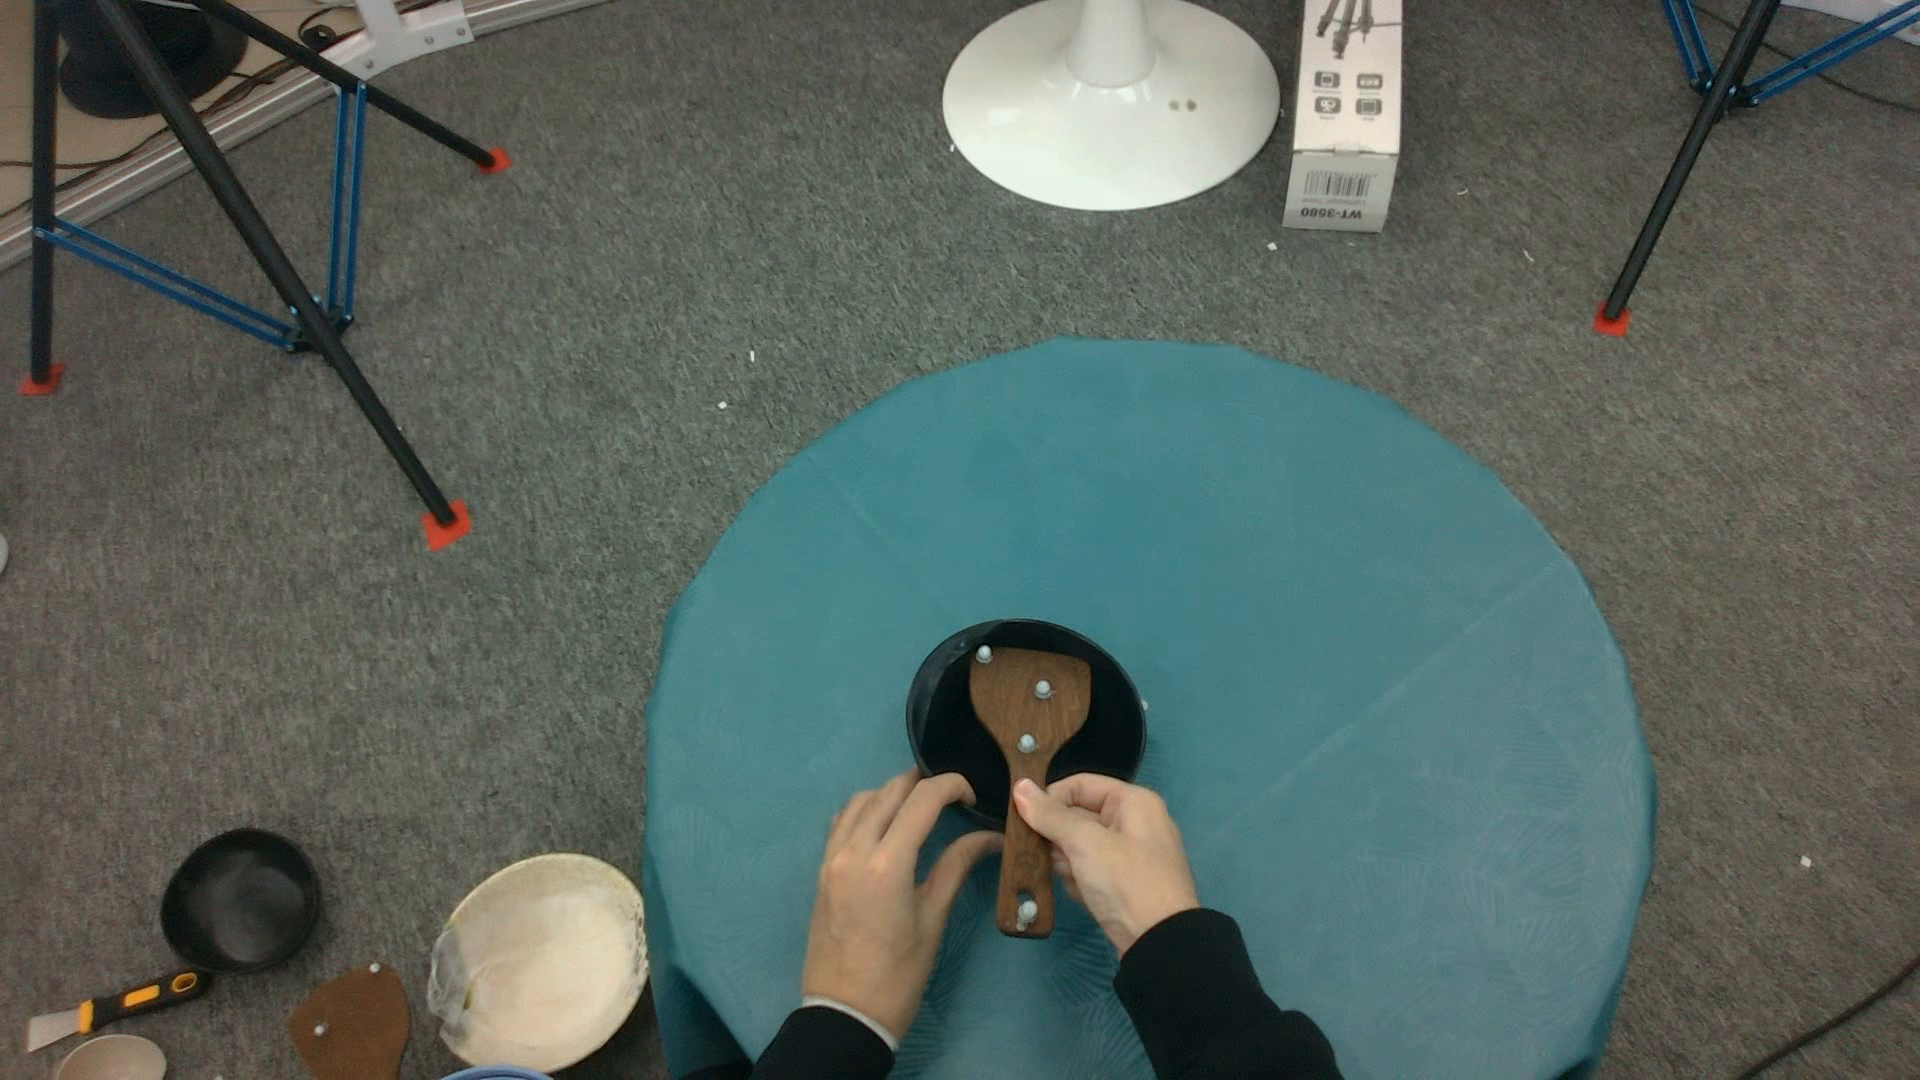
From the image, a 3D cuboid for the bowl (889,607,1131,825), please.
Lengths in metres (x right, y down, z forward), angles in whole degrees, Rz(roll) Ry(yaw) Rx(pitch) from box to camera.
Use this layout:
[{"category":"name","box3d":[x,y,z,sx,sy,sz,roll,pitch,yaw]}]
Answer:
[{"category":"bowl","box3d":[0.025,0.108,0.796,0.140,0.049,0.140,5,51,-7]}]

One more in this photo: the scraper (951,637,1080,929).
[{"category":"scraper","box3d":[0.028,0.123,0.739,0.076,0.011,0.212,7,35,-1]}]
